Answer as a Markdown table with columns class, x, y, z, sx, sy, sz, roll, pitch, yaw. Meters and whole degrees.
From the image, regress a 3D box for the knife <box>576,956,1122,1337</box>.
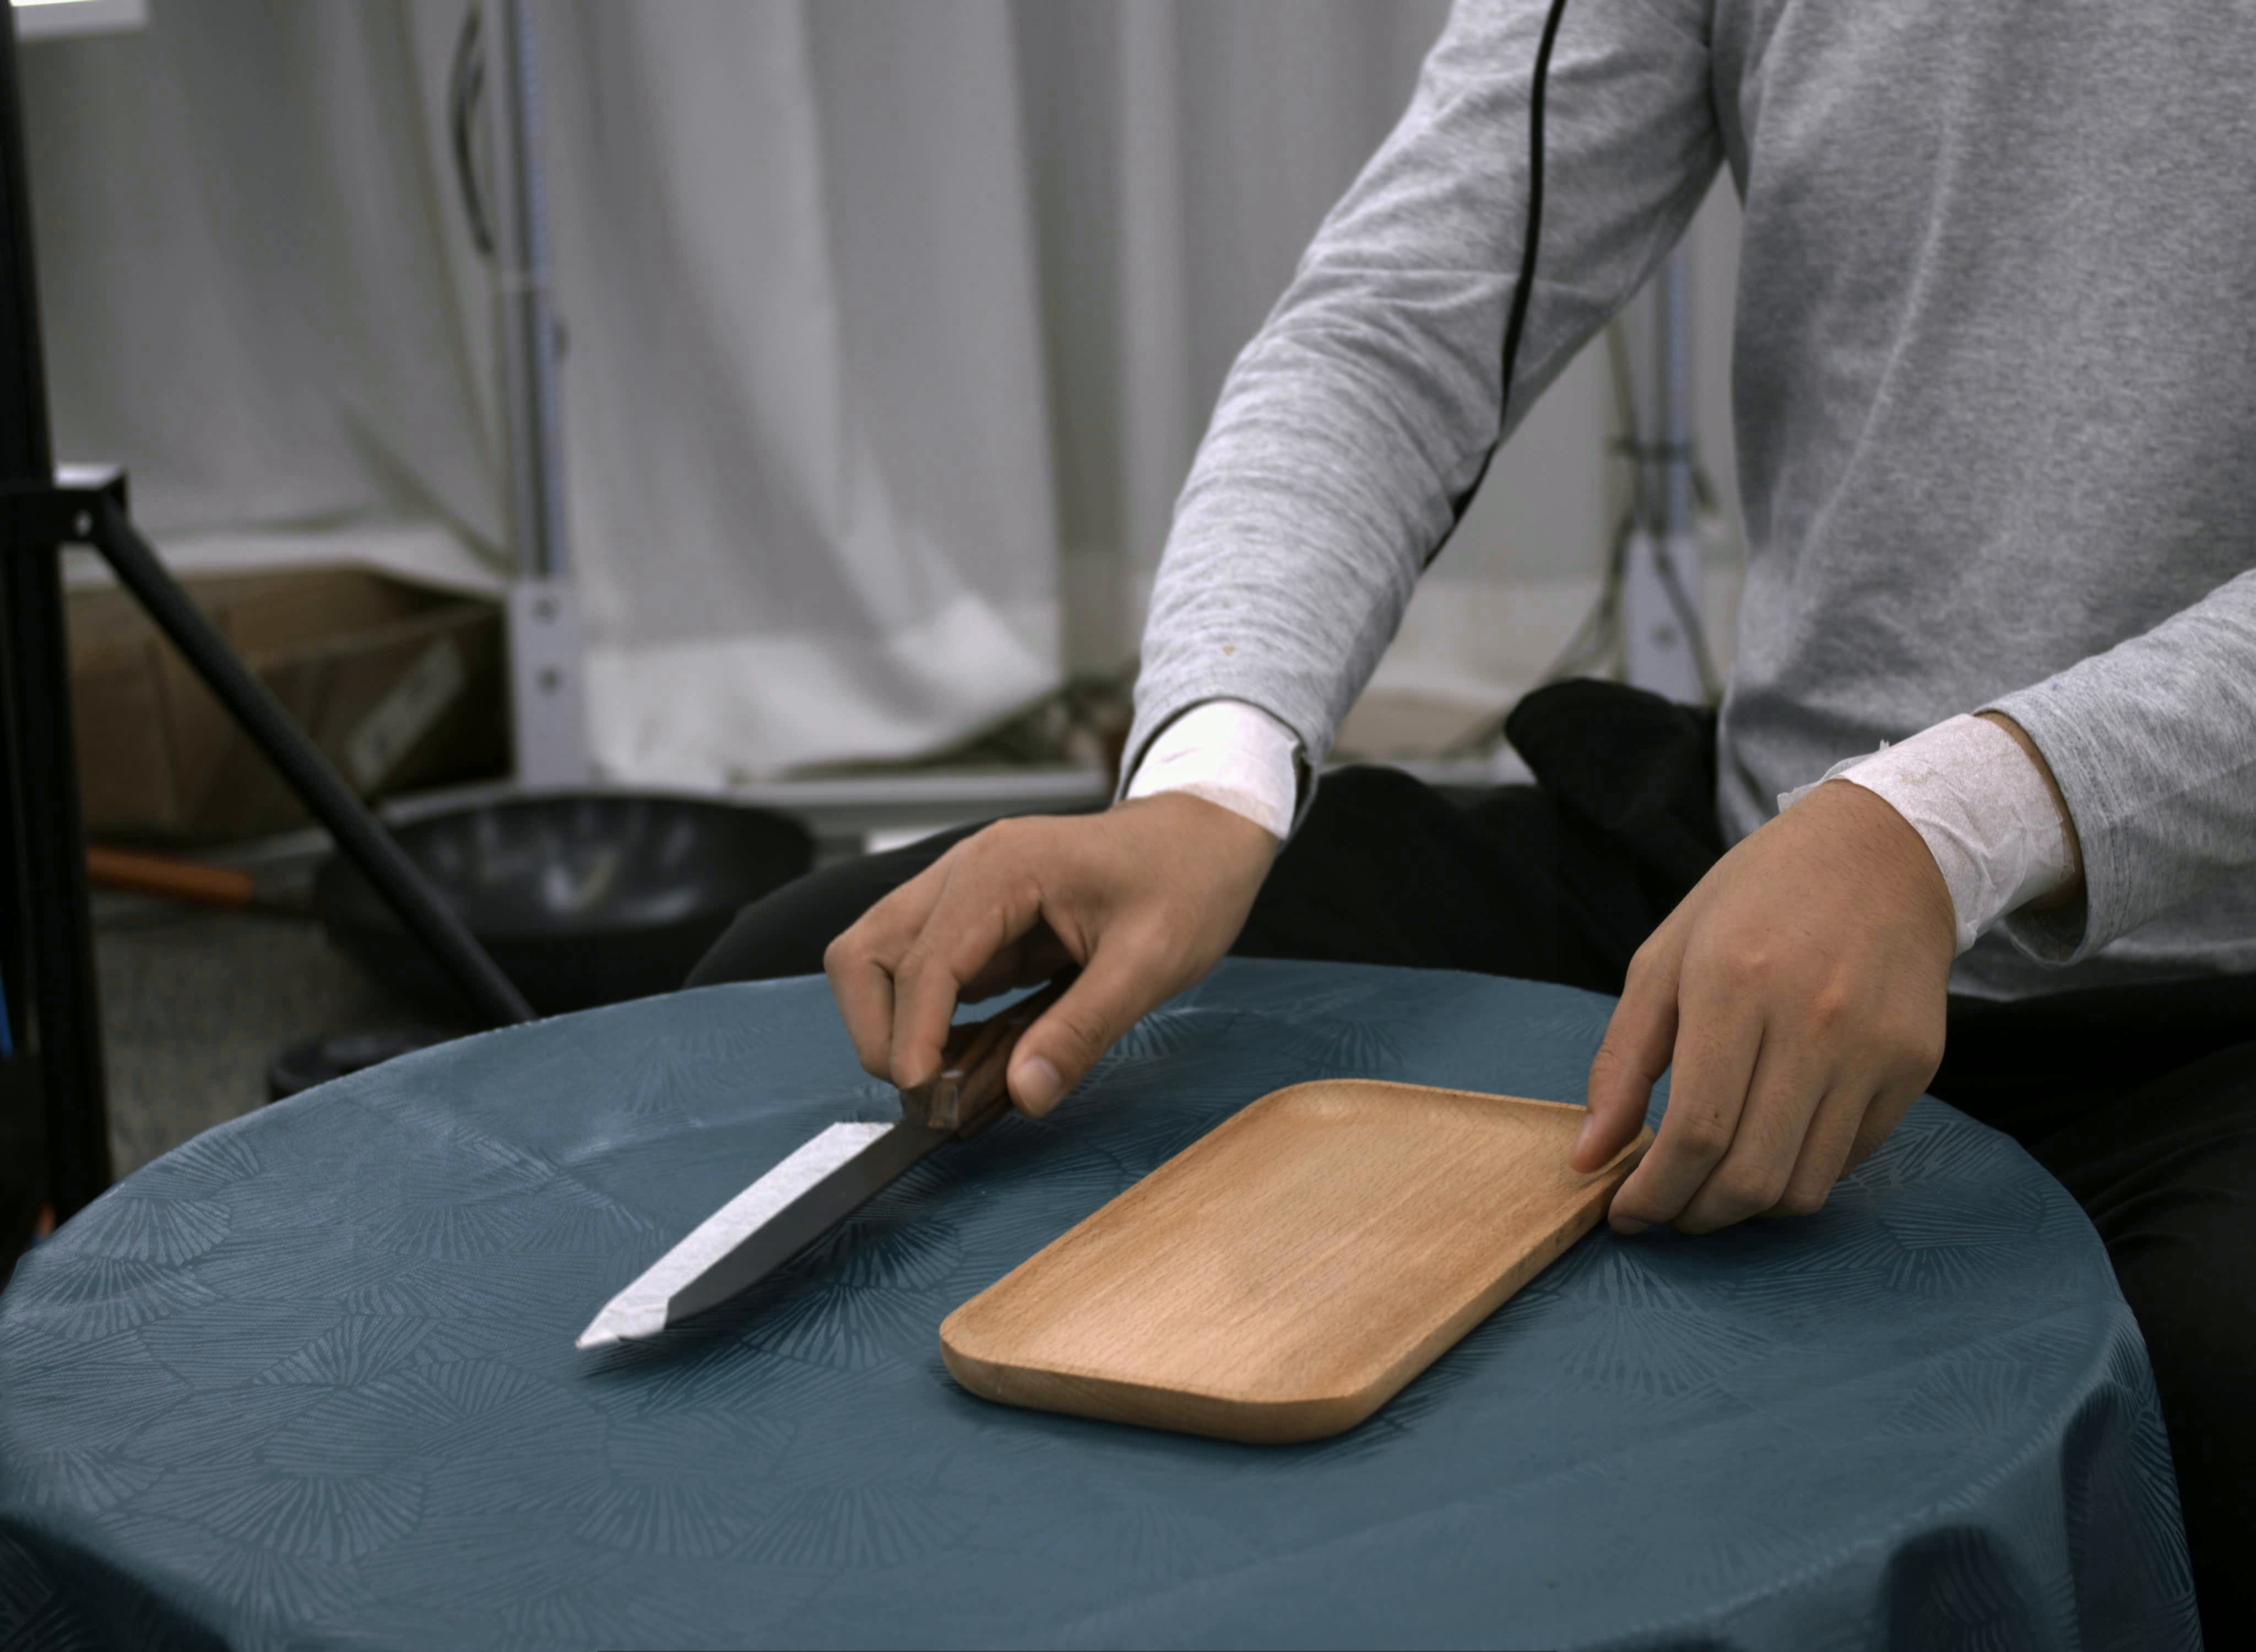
| class | x | y | z | sx | sy | sz | roll | pitch | yaw |
| --- | --- | --- | --- | --- | --- | --- | --- | --- | --- |
| knife | -0.076 | 0.093 | 1.548 | 0.051 | 0.020 | 0.284 | -4 | 16 | 32 |

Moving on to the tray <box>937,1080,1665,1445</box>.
| class | x | y | z | sx | sy | sz | roll | pitch | yaw |
| --- | --- | --- | --- | --- | --- | --- | --- | --- | --- |
| tray | 0.053 | 0.119 | 1.485 | 0.133 | 0.023 | 0.246 | 9 | 18 | 28 |
